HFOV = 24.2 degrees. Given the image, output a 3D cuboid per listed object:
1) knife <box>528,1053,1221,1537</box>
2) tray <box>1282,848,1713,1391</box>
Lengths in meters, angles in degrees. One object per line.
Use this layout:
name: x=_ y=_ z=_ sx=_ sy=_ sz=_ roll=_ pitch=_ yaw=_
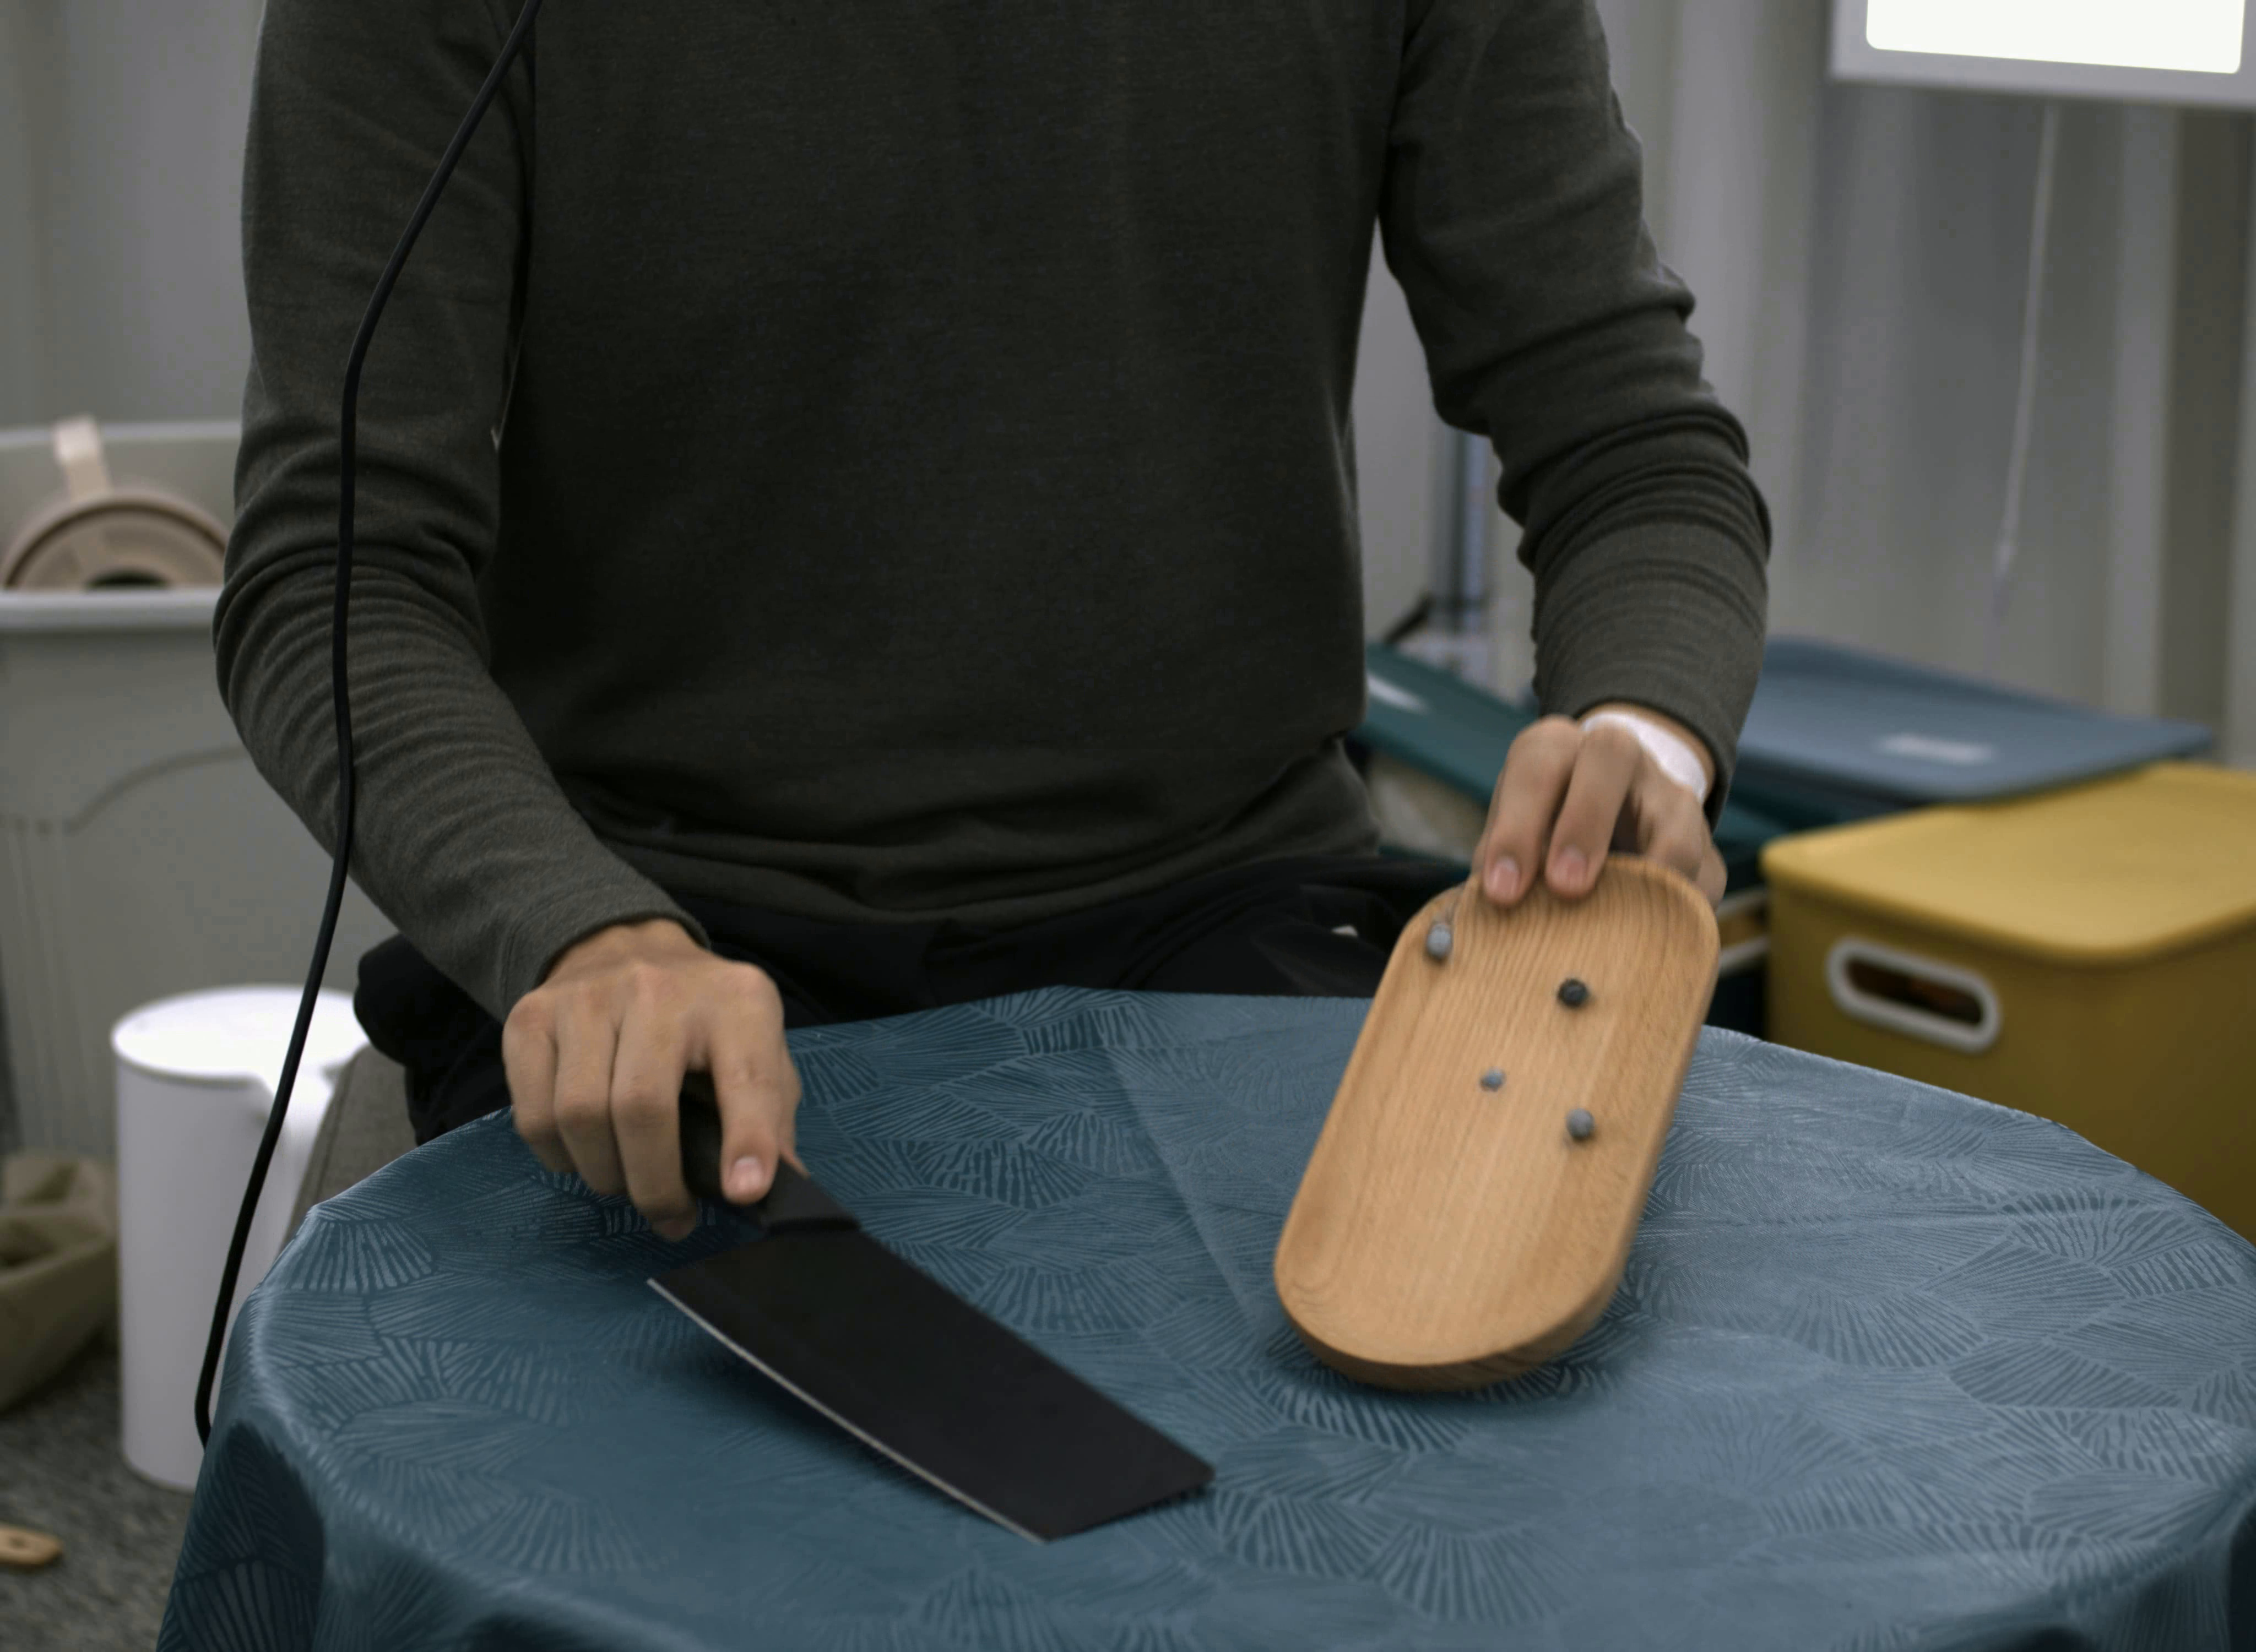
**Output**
knife: x=-0.087 y=0.128 z=1.479 sx=0.081 sy=0.021 sz=0.298 roll=-15 pitch=29 yaw=-31
tray: x=0.110 y=0.082 z=1.537 sx=0.101 sy=0.020 sz=0.230 roll=-2 pitch=39 yaw=20
